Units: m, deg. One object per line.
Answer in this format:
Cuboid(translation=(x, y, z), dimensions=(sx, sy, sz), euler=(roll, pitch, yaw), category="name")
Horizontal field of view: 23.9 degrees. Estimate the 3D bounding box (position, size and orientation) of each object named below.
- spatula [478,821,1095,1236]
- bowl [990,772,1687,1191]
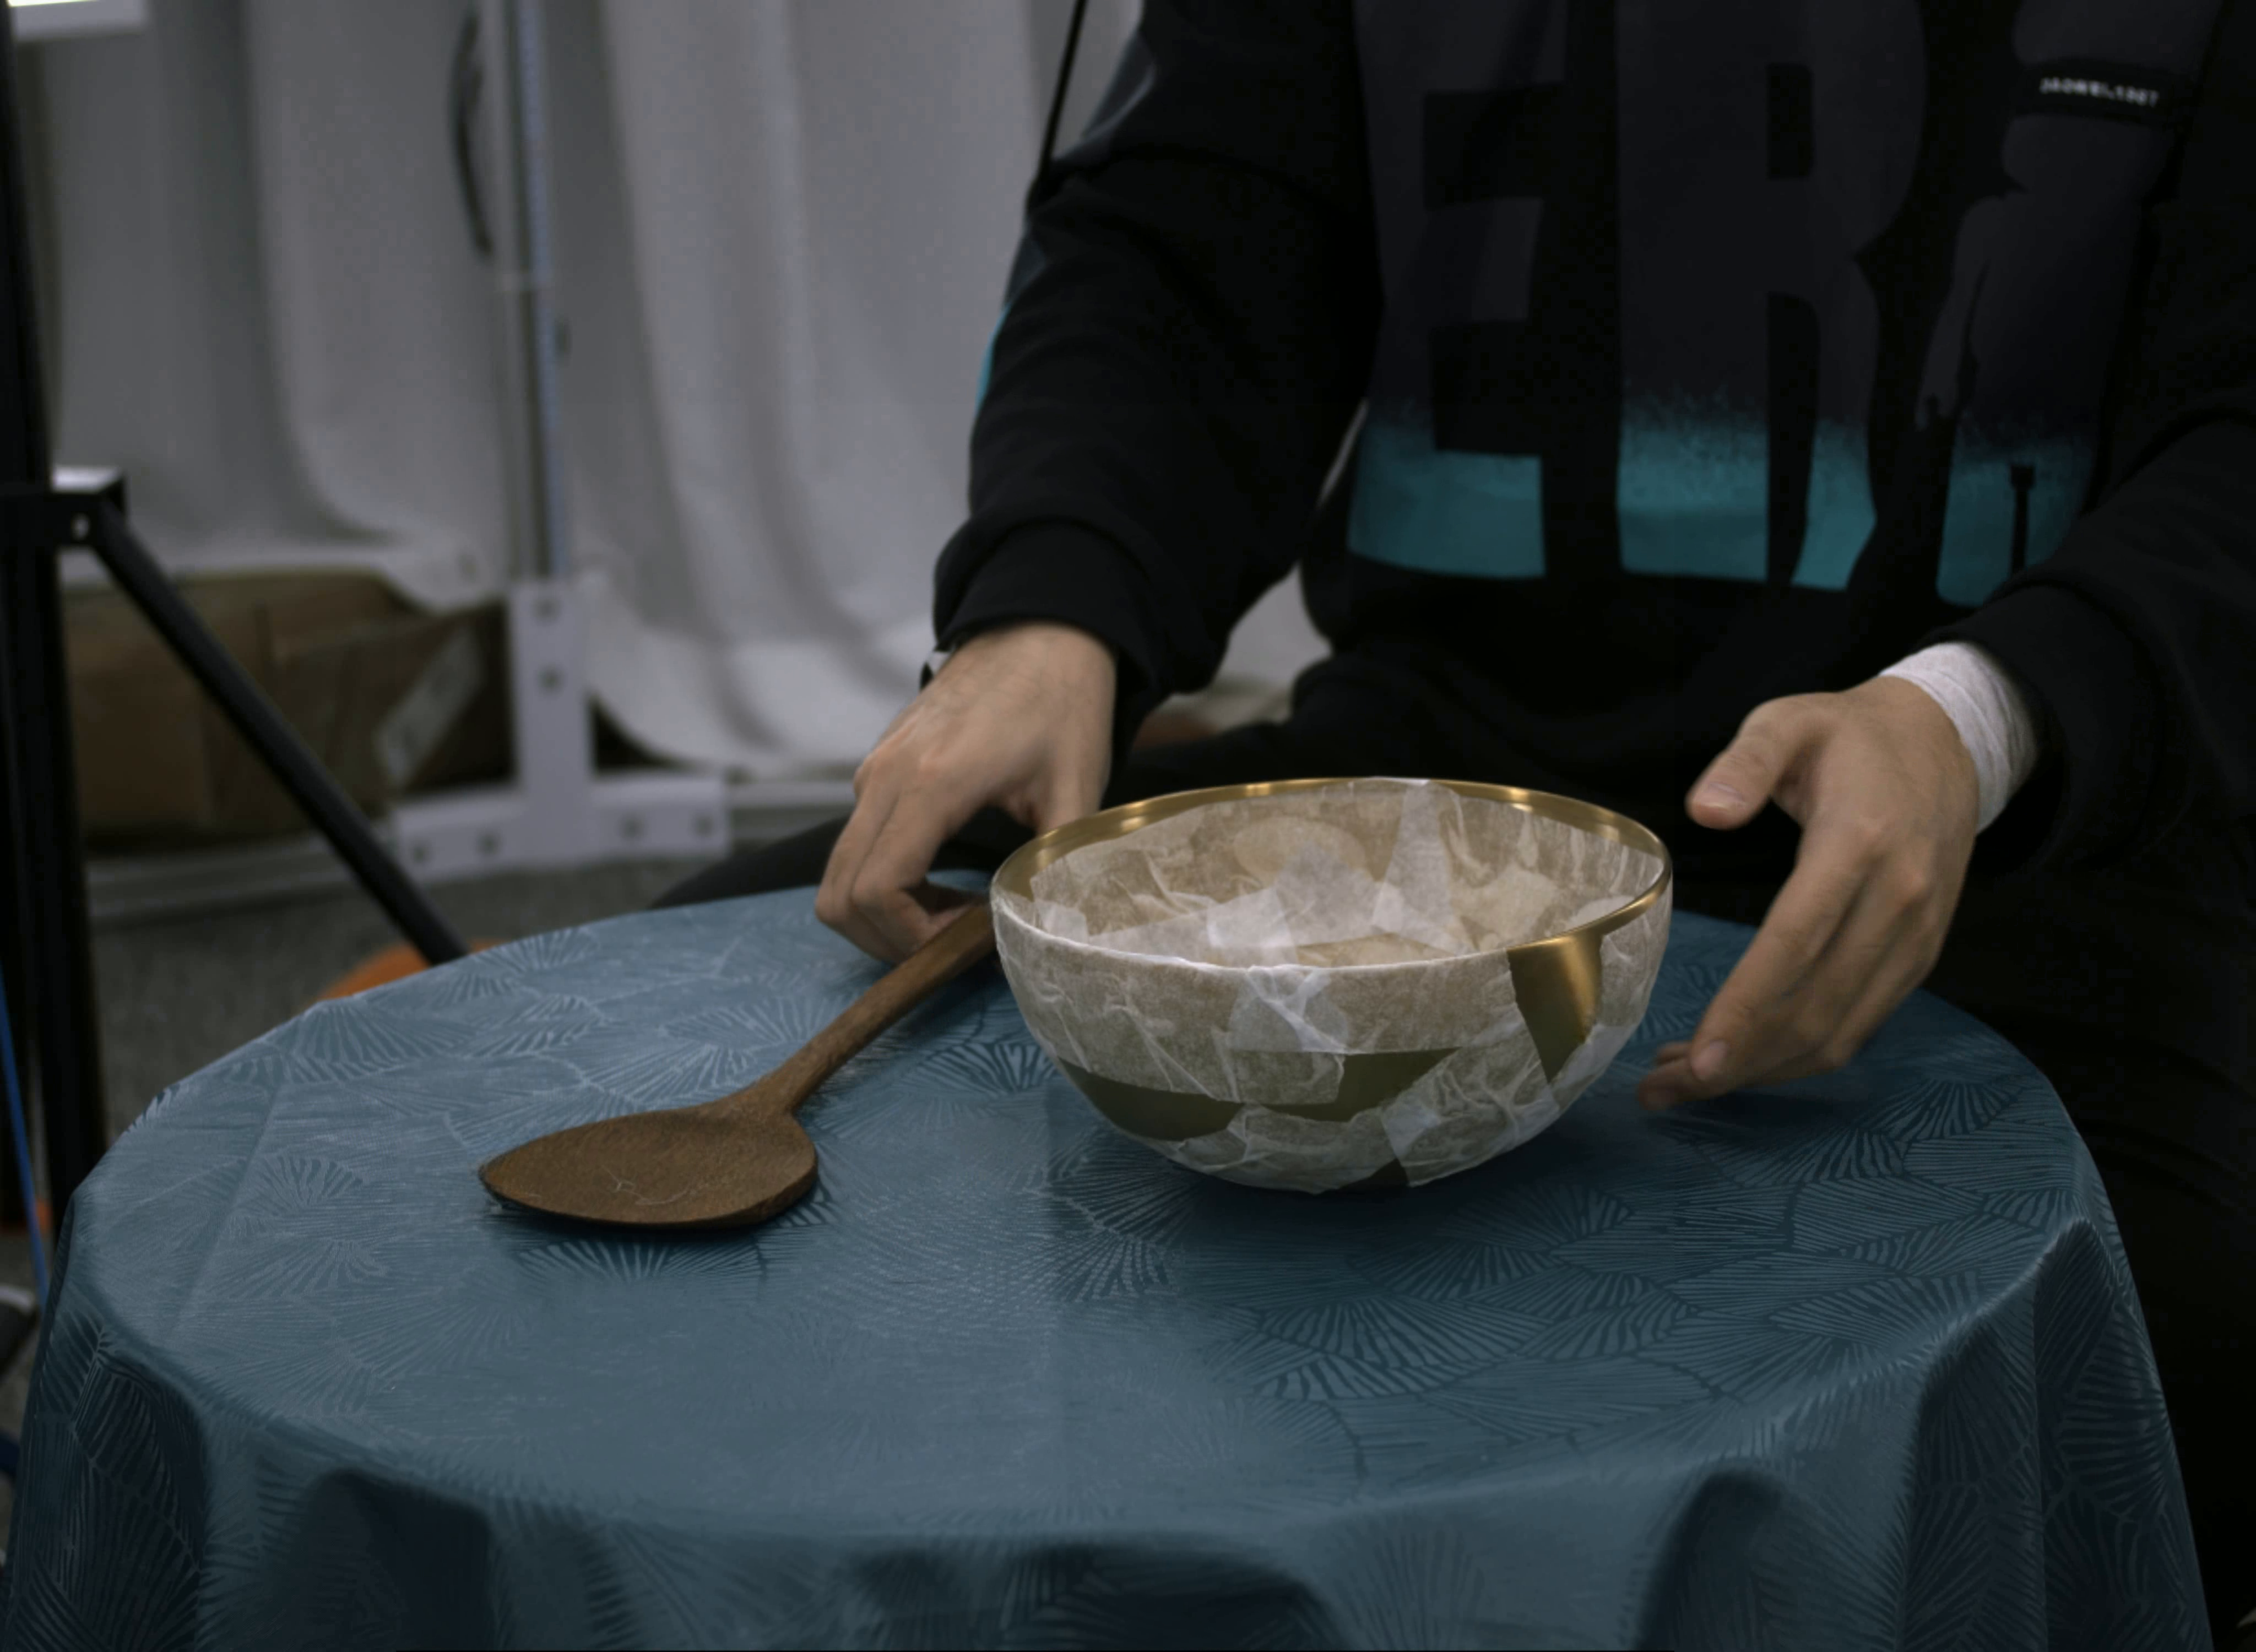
Cuboid(translation=(-0.077, 0.058, 1.703), dimensions=(0.097, 0.016, 0.380), euler=(6, 21, 25), category="spatula")
Cuboid(translation=(0.065, 0.053, 1.567), dimensions=(0.213, 0.094, 0.216), euler=(-4, 14, 0), category="bowl")
